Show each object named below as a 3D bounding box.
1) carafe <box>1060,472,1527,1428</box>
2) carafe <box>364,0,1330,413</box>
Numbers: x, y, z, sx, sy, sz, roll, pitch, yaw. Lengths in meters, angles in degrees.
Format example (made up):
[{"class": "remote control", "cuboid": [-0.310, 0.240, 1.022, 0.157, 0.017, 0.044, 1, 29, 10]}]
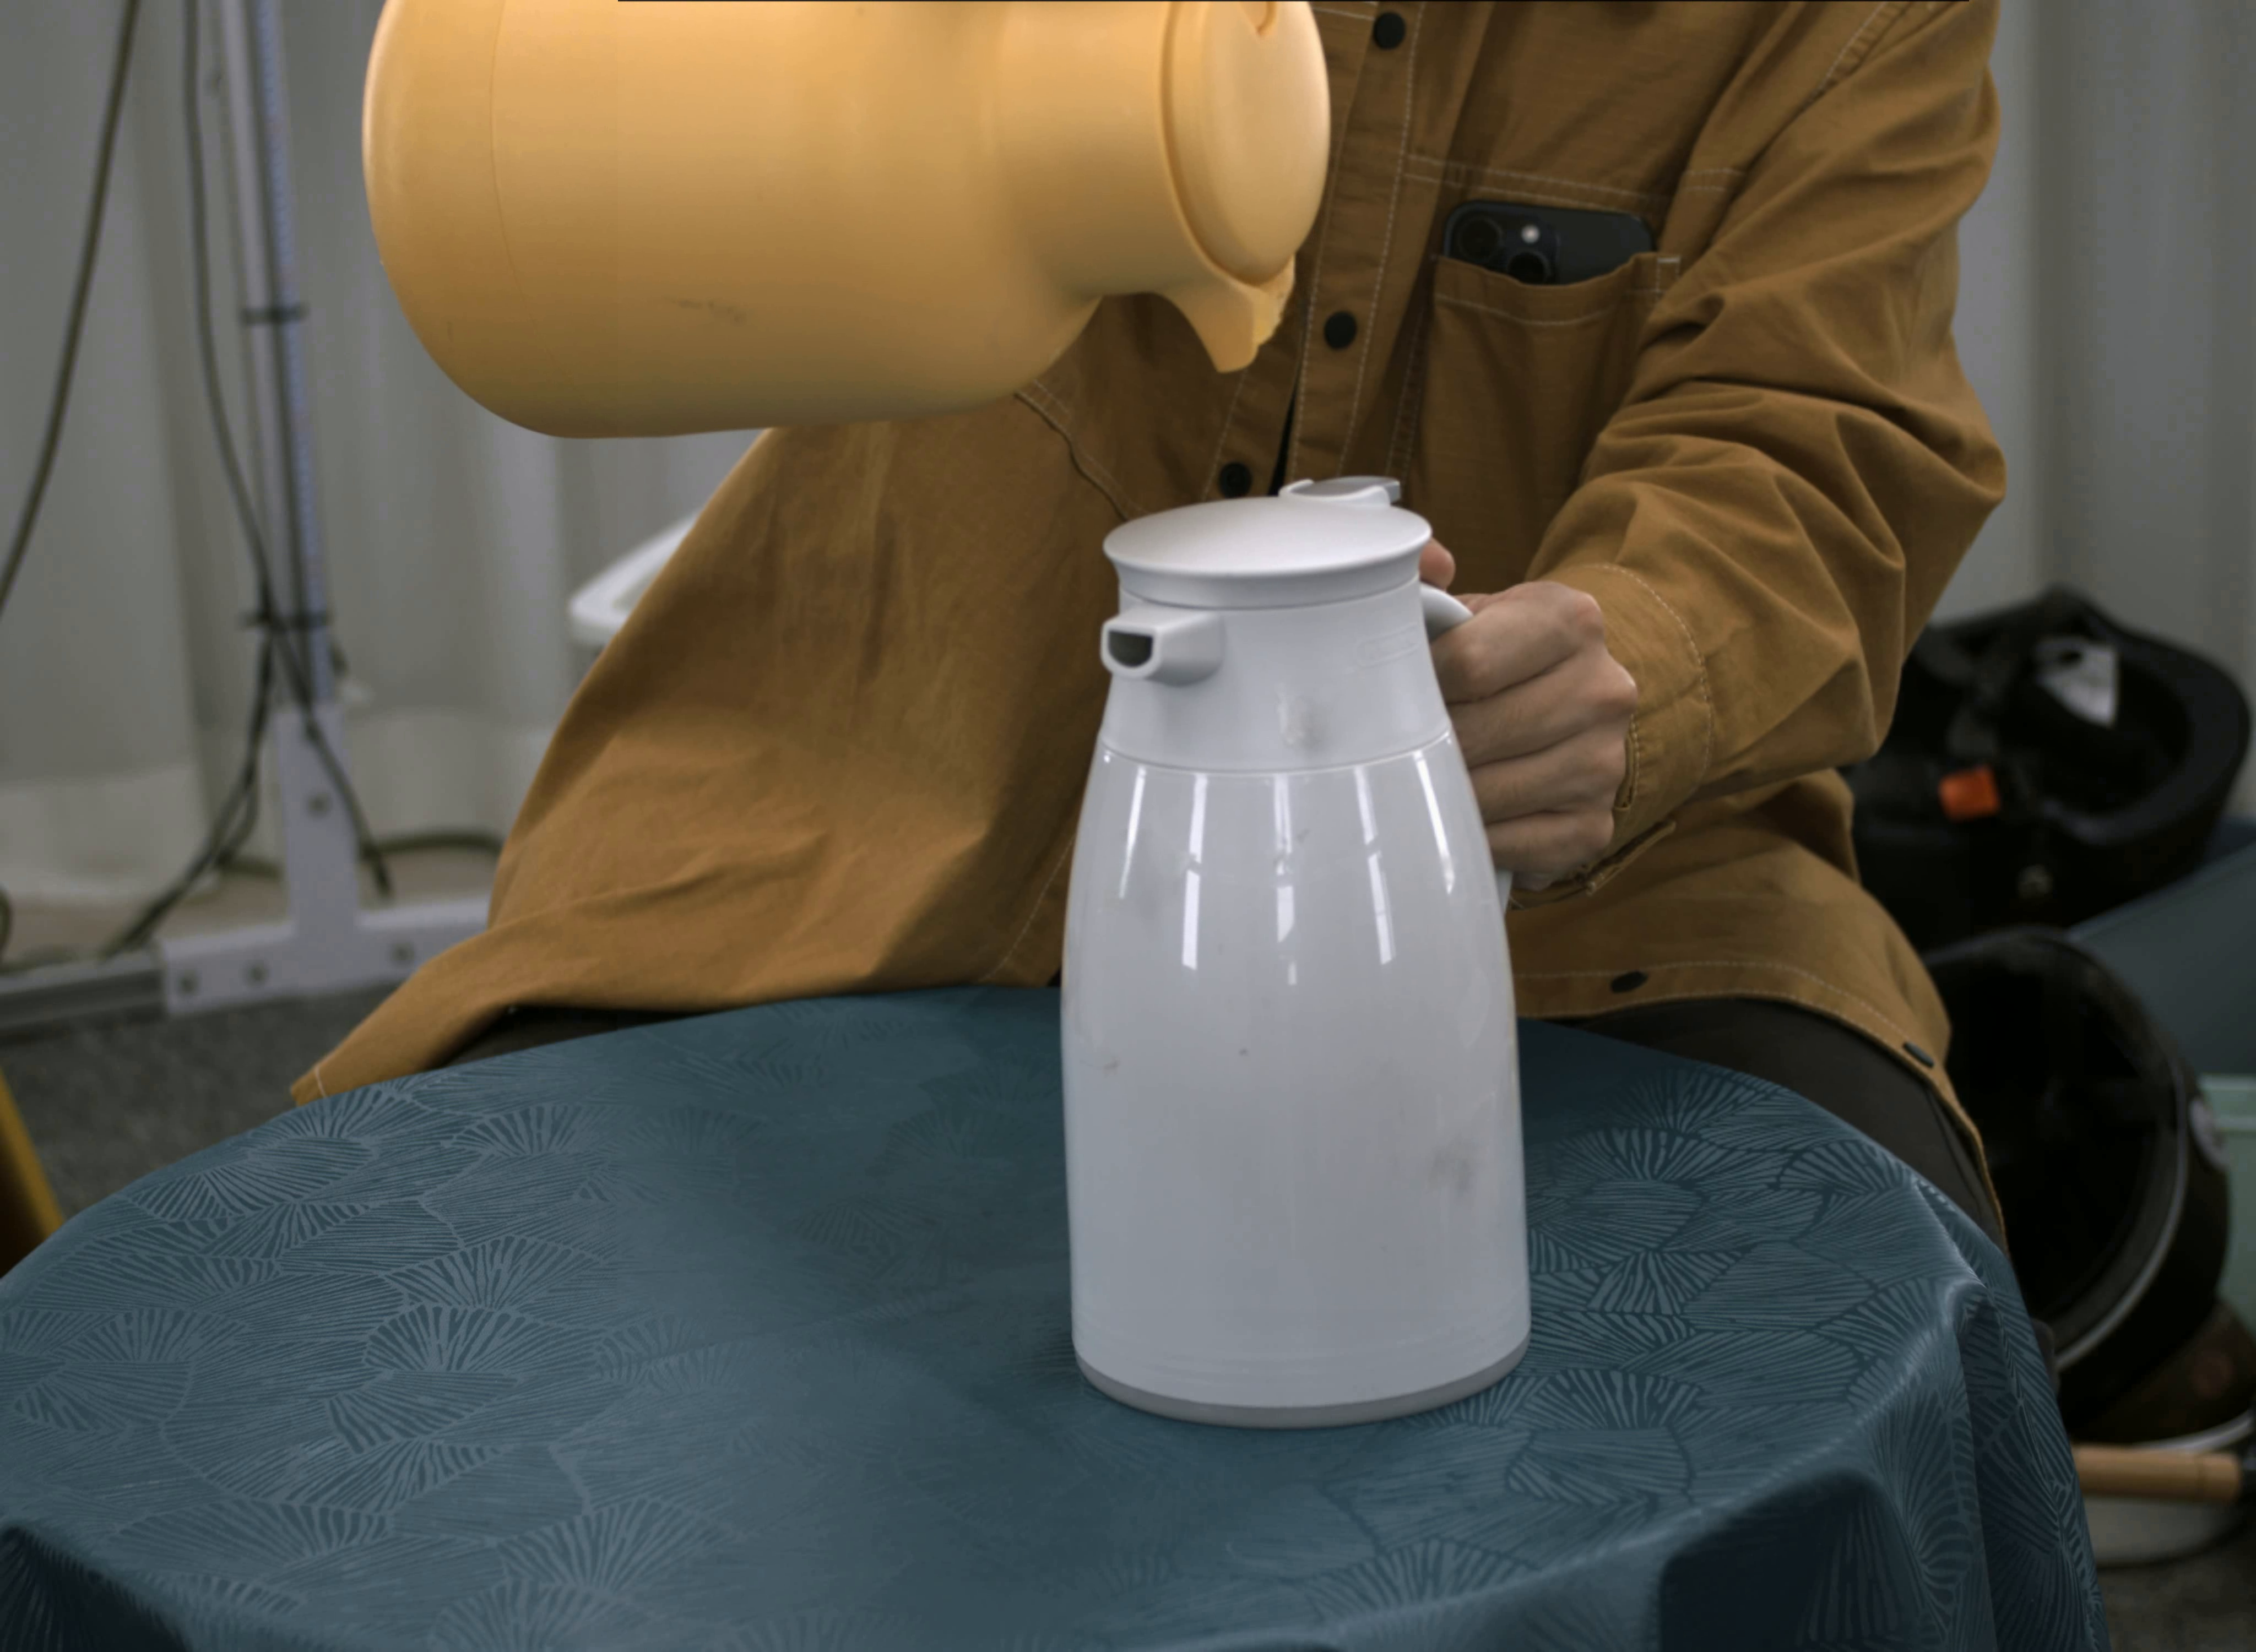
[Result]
[{"class": "carafe", "cuboid": [0.055, 0.026, 1.558, 0.133, 0.248, 0.167, 8, 17, 38]}, {"class": "carafe", "cuboid": [-0.076, -0.216, 1.529, 0.260, 0.201, 0.164, 2, 21, 25]}]
